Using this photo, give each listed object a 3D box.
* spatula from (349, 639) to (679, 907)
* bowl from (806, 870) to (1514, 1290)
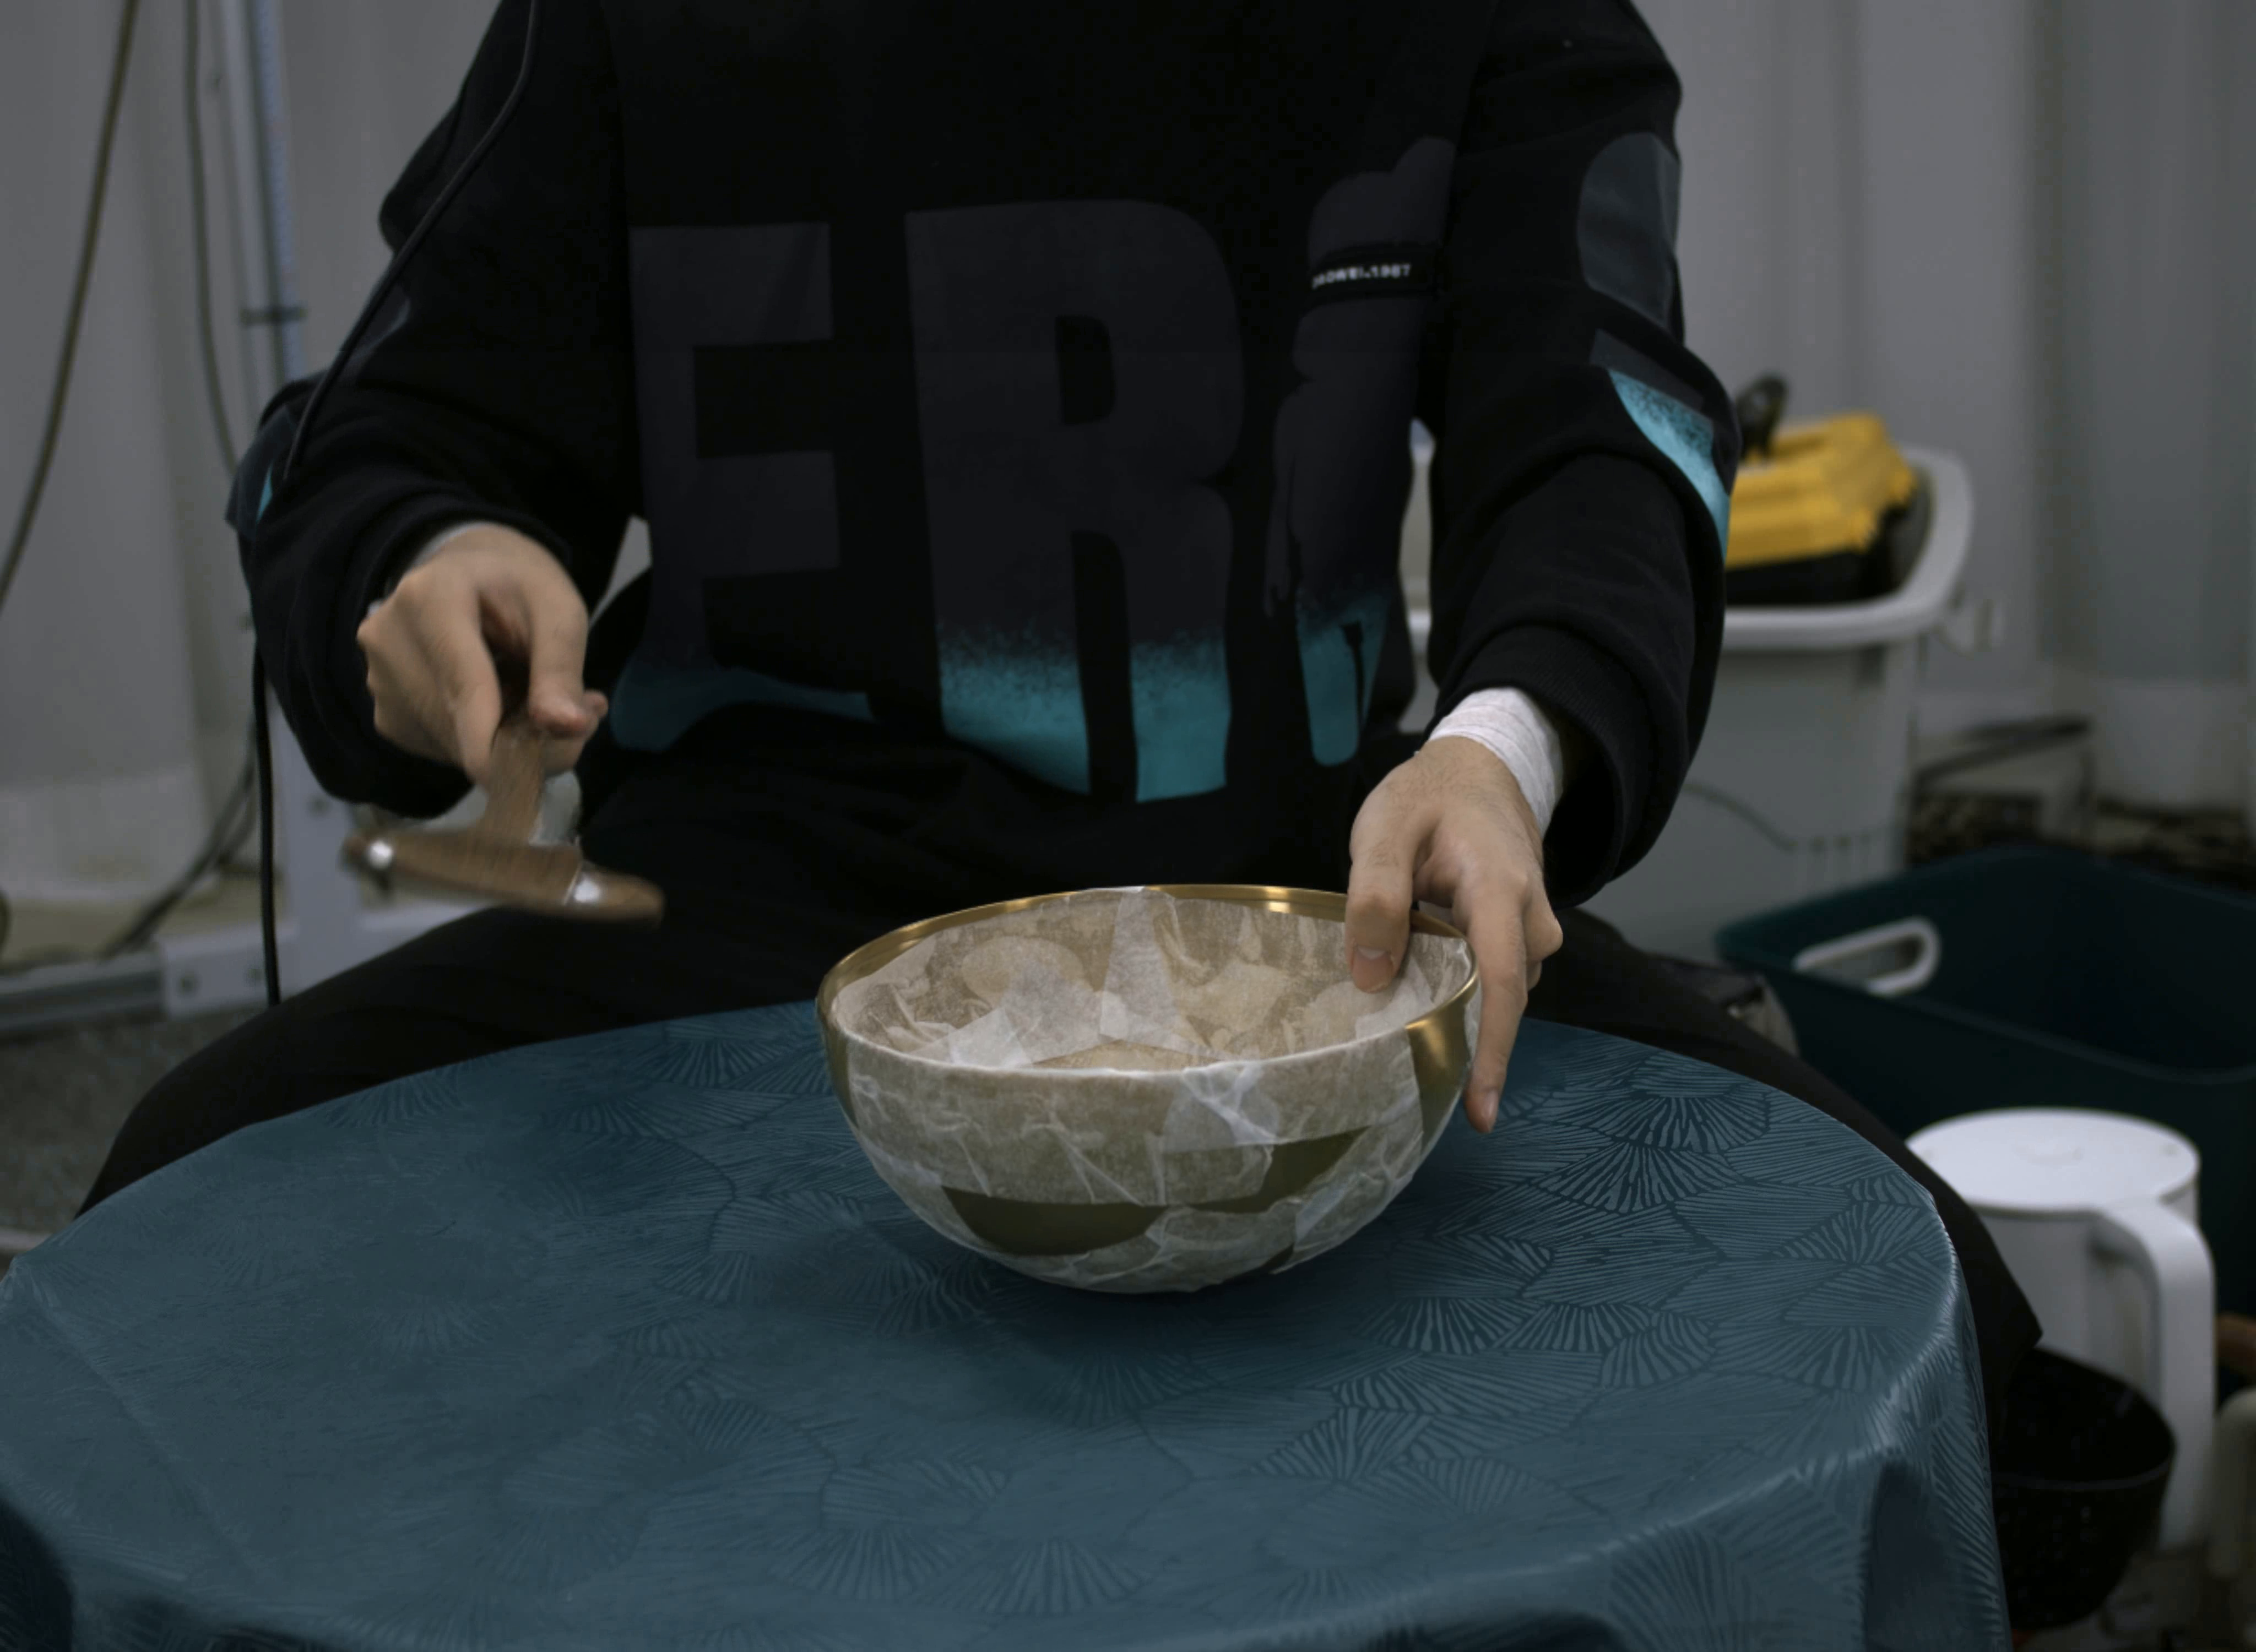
[{"bbox_3d":[-0.189,-0.022,1.715,0.095,0.016,0.388,13,10,-8],"label":"spatula"},{"bbox_3d":[0.011,0.084,1.642,0.214,0.094,0.216,-3,14,1],"label":"bowl"}]
